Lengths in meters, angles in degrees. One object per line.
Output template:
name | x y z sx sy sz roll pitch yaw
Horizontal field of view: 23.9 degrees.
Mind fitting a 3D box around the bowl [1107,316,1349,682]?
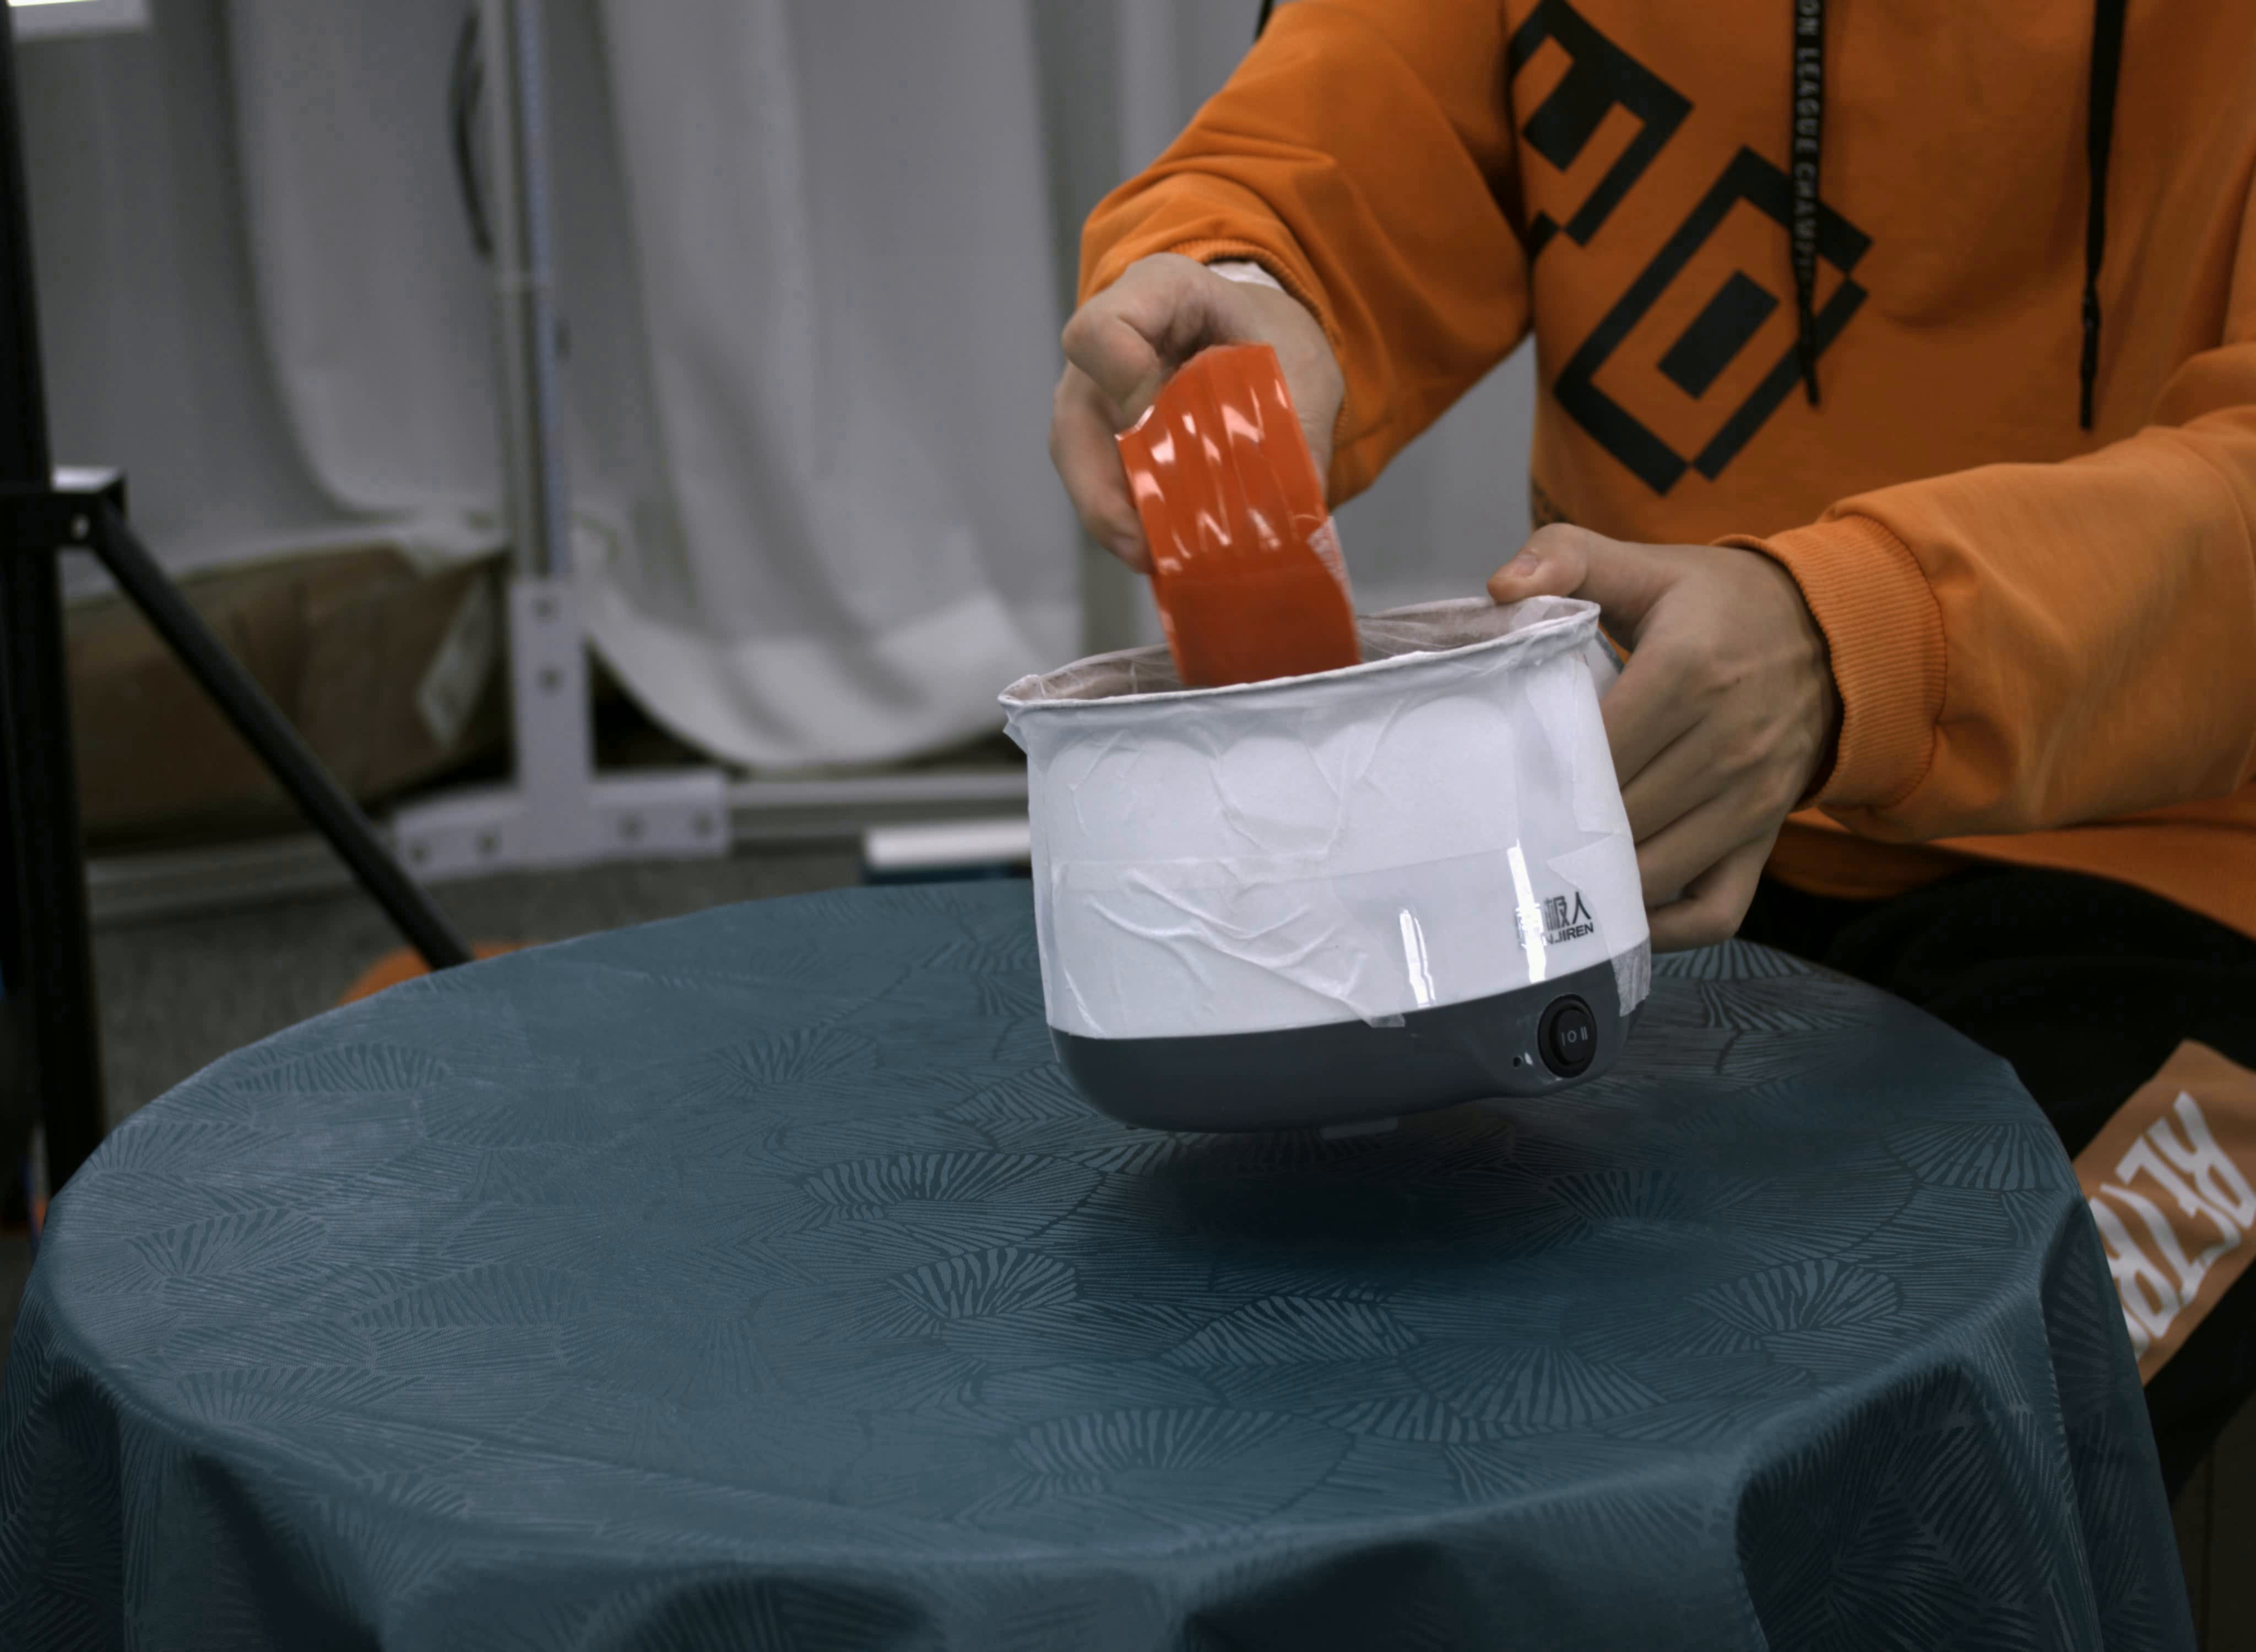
bowl | 0.027 -0.084 1.544 0.051 0.118 0.120 -14 16 -2

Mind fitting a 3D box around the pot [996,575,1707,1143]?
pot | 0.078 0.006 1.555 0.228 0.137 0.182 -14 9 -41
